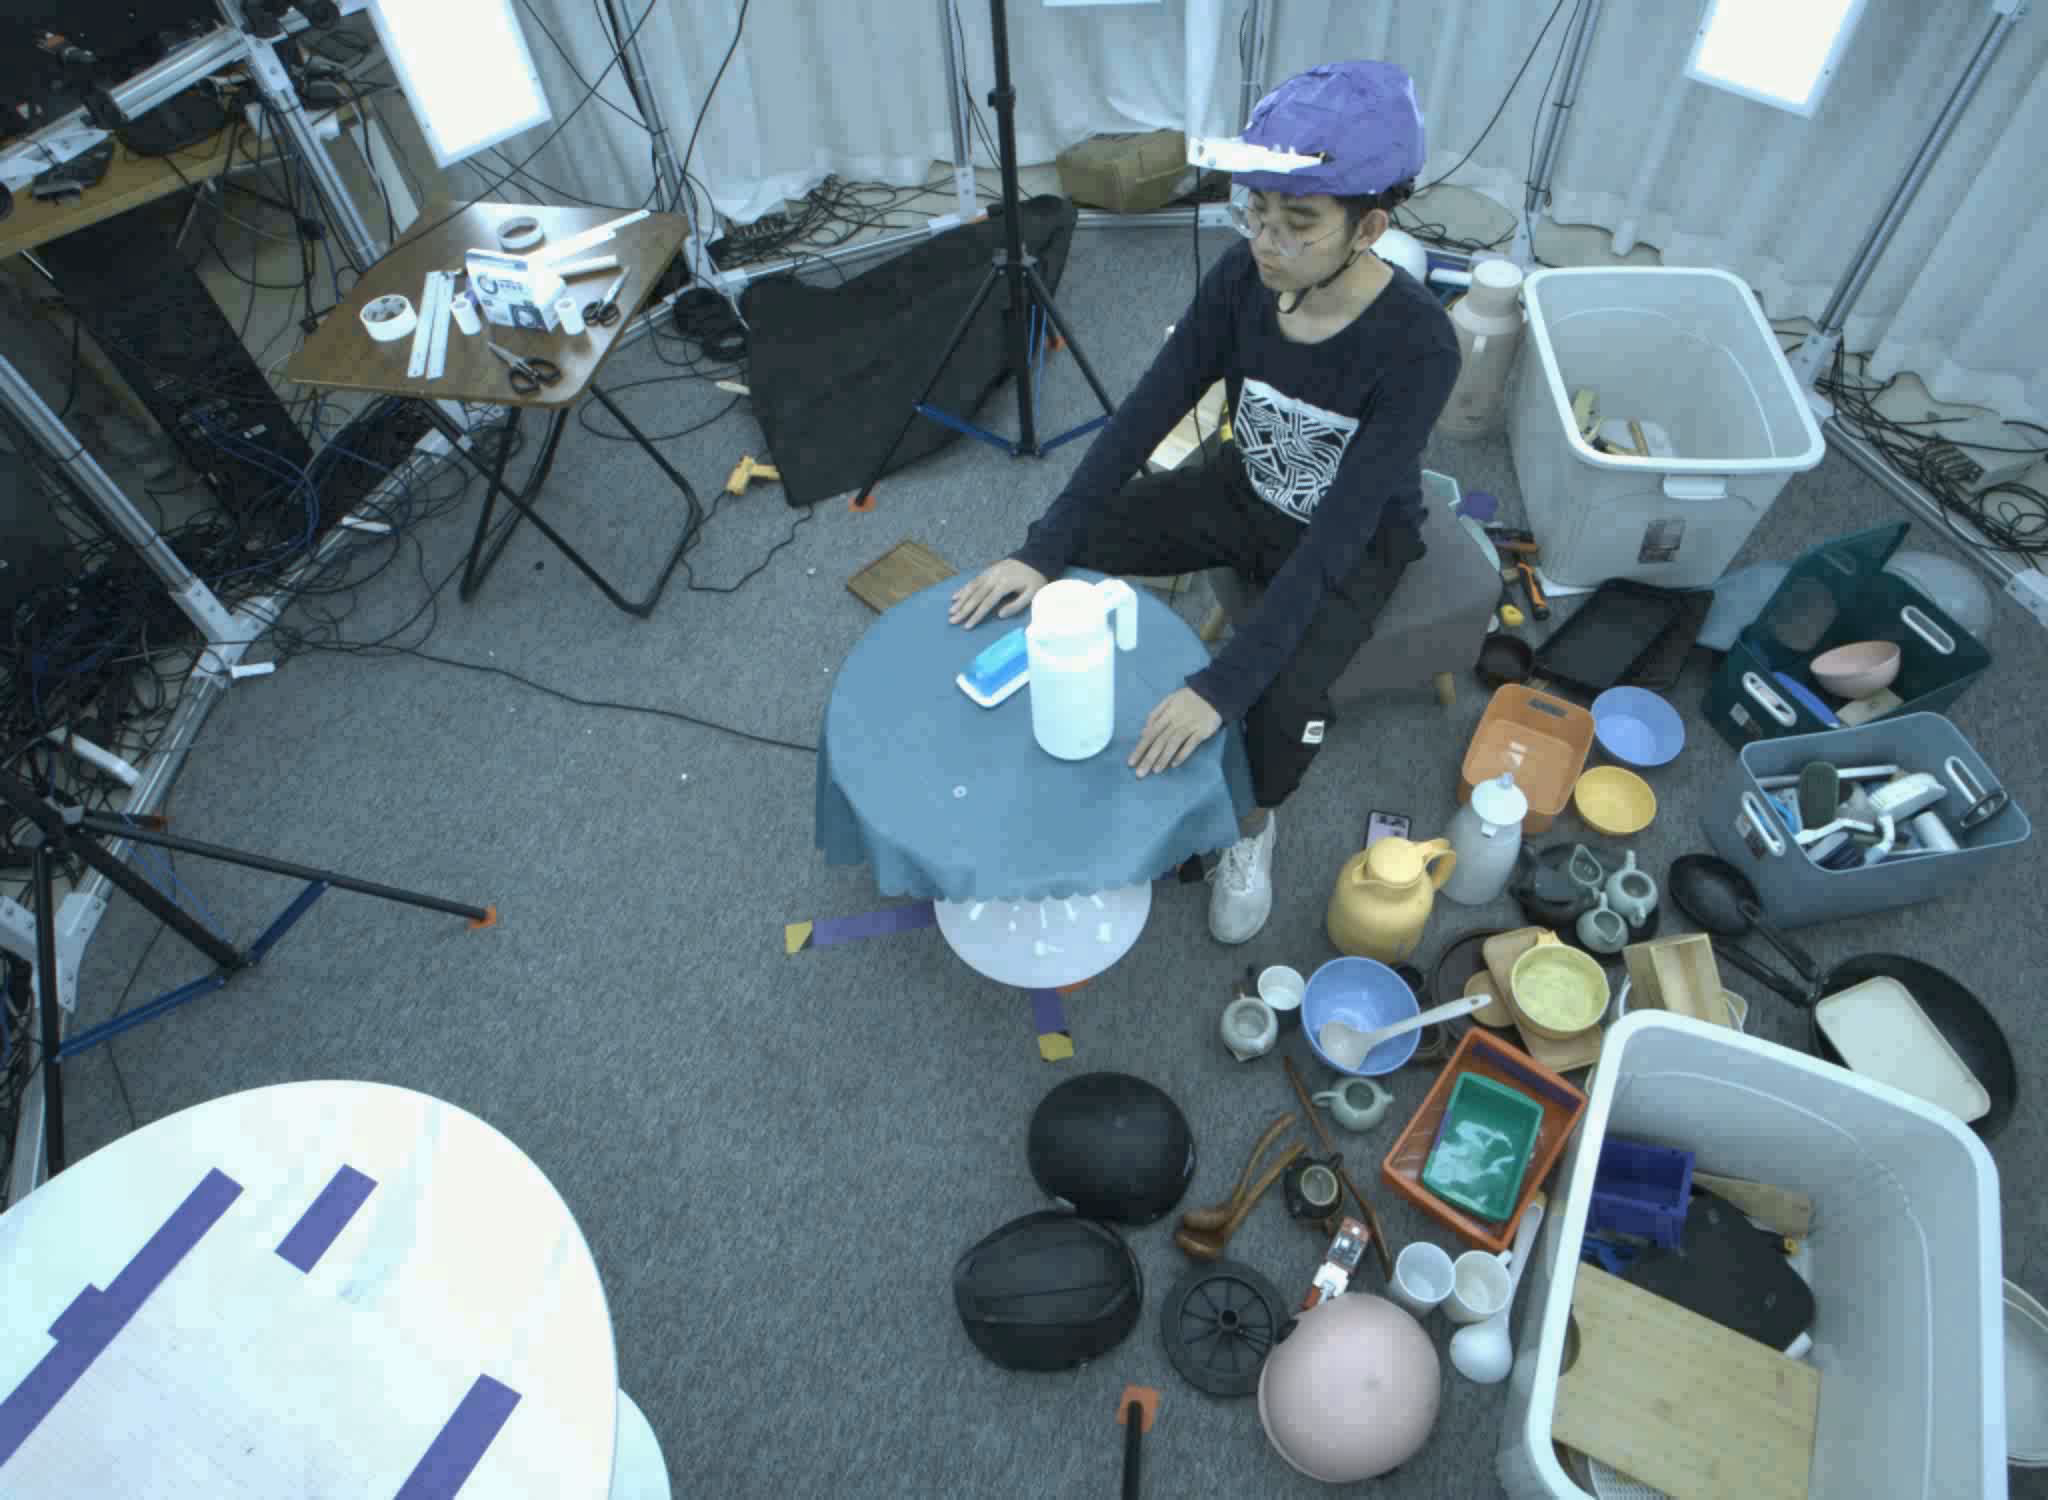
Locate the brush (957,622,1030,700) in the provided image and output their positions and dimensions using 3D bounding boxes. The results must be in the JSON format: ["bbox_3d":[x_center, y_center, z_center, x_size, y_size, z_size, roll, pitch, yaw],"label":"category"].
[{"bbox_3d":[-0.028,-0.142,1.843,0.145,0.056,0.082,-38,64,-19],"label":"brush"}]

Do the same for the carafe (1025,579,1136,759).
[{"bbox_3d":[0.077,-0.117,1.696,0.174,0.272,0.121,-33,57,-20],"label":"carafe"}]
